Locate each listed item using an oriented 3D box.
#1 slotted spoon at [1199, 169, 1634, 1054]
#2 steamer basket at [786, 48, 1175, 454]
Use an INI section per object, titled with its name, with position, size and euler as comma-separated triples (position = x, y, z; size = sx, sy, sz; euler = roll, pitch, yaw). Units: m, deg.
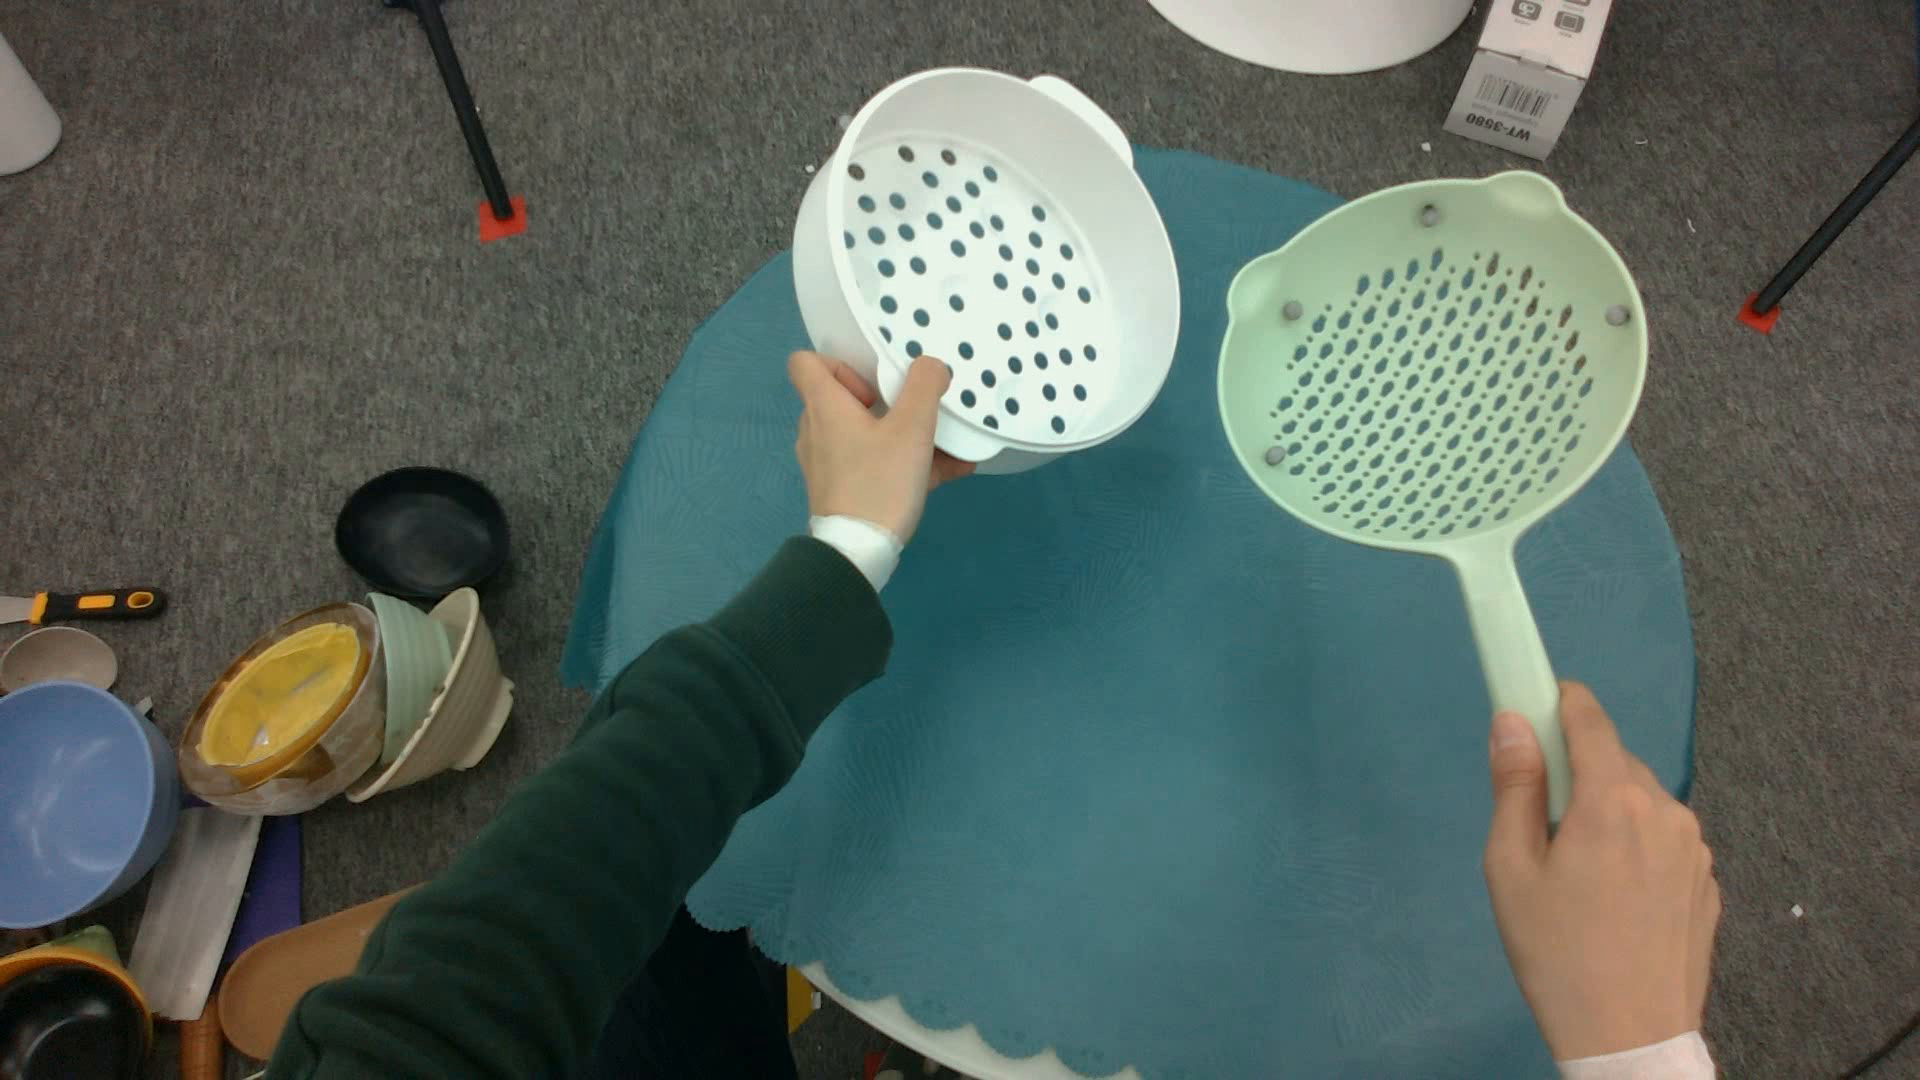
[slotted spoon]
position = 0.202, 0.011, 0.549
size = 0.169, 0.075, 0.360
euler = -17, 55, 18
[steamer basket]
position = 0.011, -0.142, 0.696
size = 0.202, 0.069, 0.231
euler = 33, 62, -19
